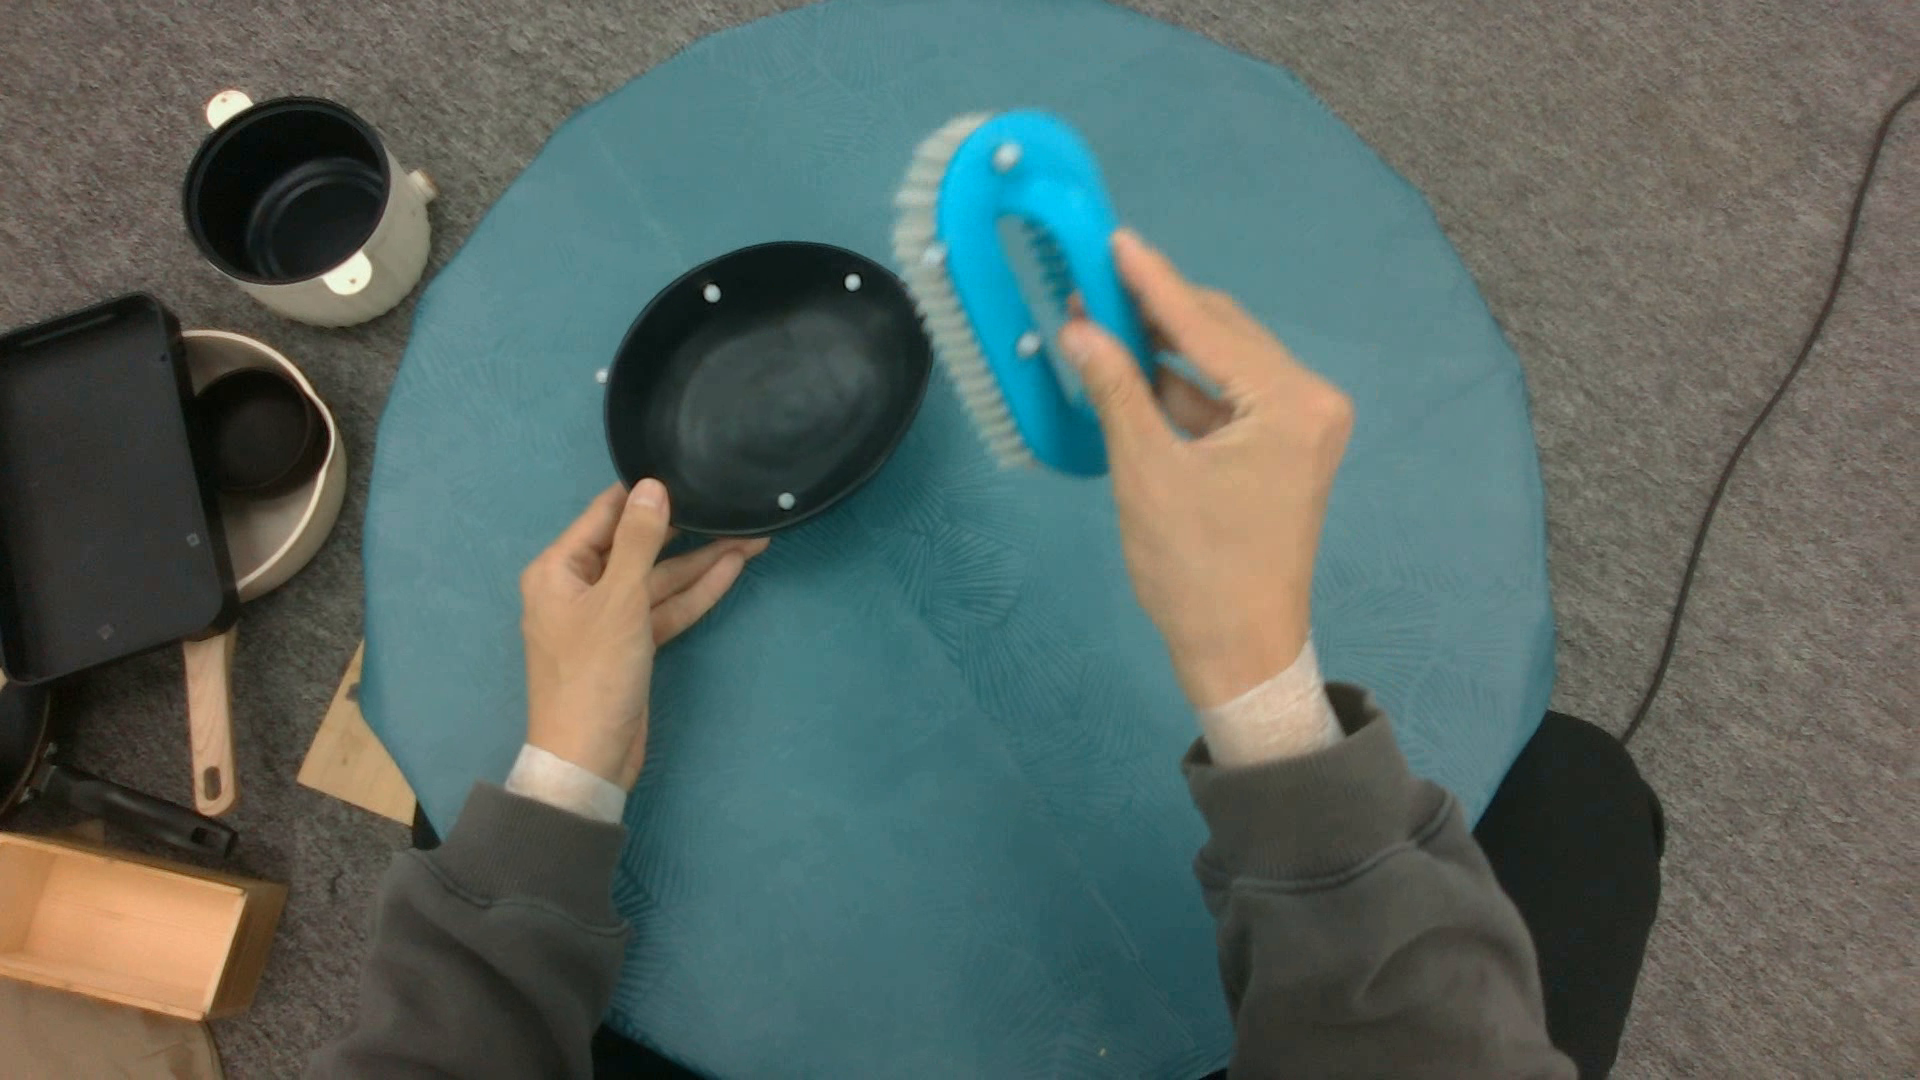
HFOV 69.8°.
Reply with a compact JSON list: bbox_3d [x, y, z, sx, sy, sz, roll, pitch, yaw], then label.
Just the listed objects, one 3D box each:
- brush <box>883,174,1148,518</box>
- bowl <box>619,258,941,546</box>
[{"bbox_3d":[0.034,-0.074,0.525,0.085,0.063,0.141,-40,116,-30],"label":"brush"},{"bbox_3d":[-0.087,-0.066,0.696,0.170,0.066,0.137,-40,80,-10],"label":"bowl"}]
